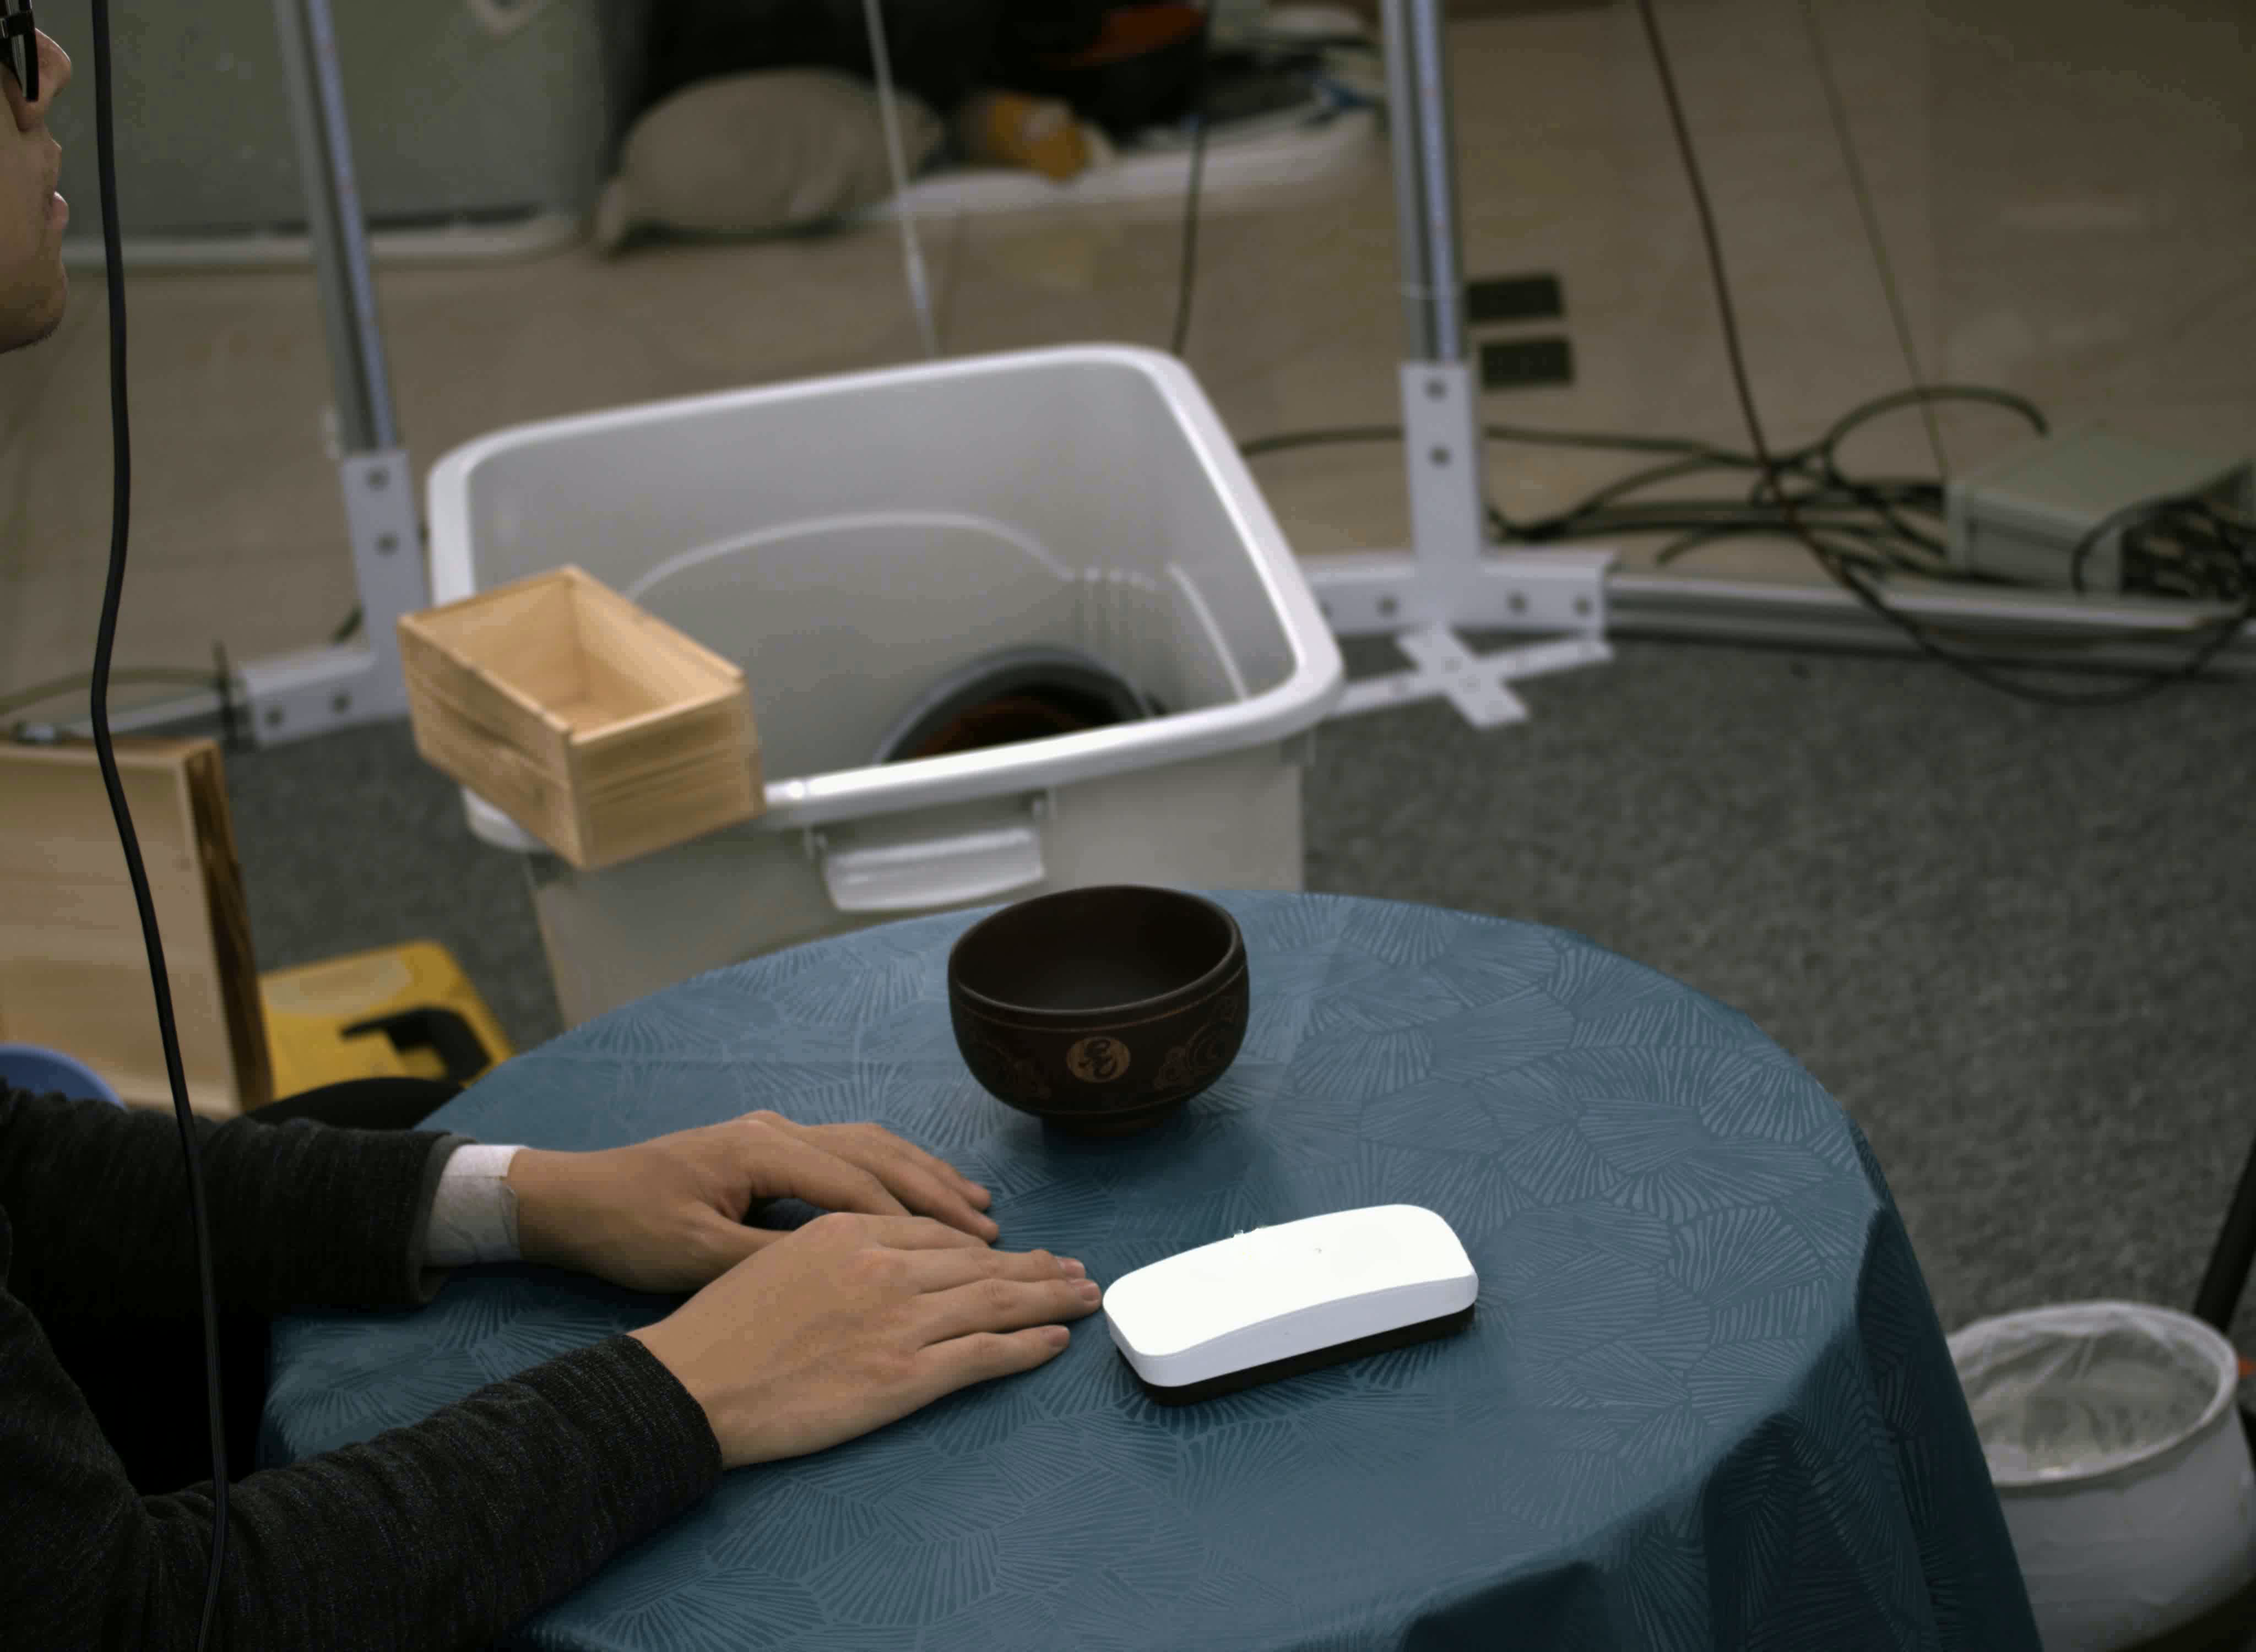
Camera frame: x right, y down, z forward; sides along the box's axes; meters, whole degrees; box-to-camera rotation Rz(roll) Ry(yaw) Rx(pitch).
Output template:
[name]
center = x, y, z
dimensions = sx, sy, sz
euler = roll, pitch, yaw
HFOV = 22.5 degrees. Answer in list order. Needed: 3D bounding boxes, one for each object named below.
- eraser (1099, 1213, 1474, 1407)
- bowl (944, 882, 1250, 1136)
[eraser]
center = 0.057, 0.170, 2.031
dimensions = 0.131, 0.035, 0.062
euler = -13, 25, -14
[bowl]
center = -0.010, 0.077, 2.198
dimensions = 0.118, 0.071, 0.116
euler = -6, 26, 3
